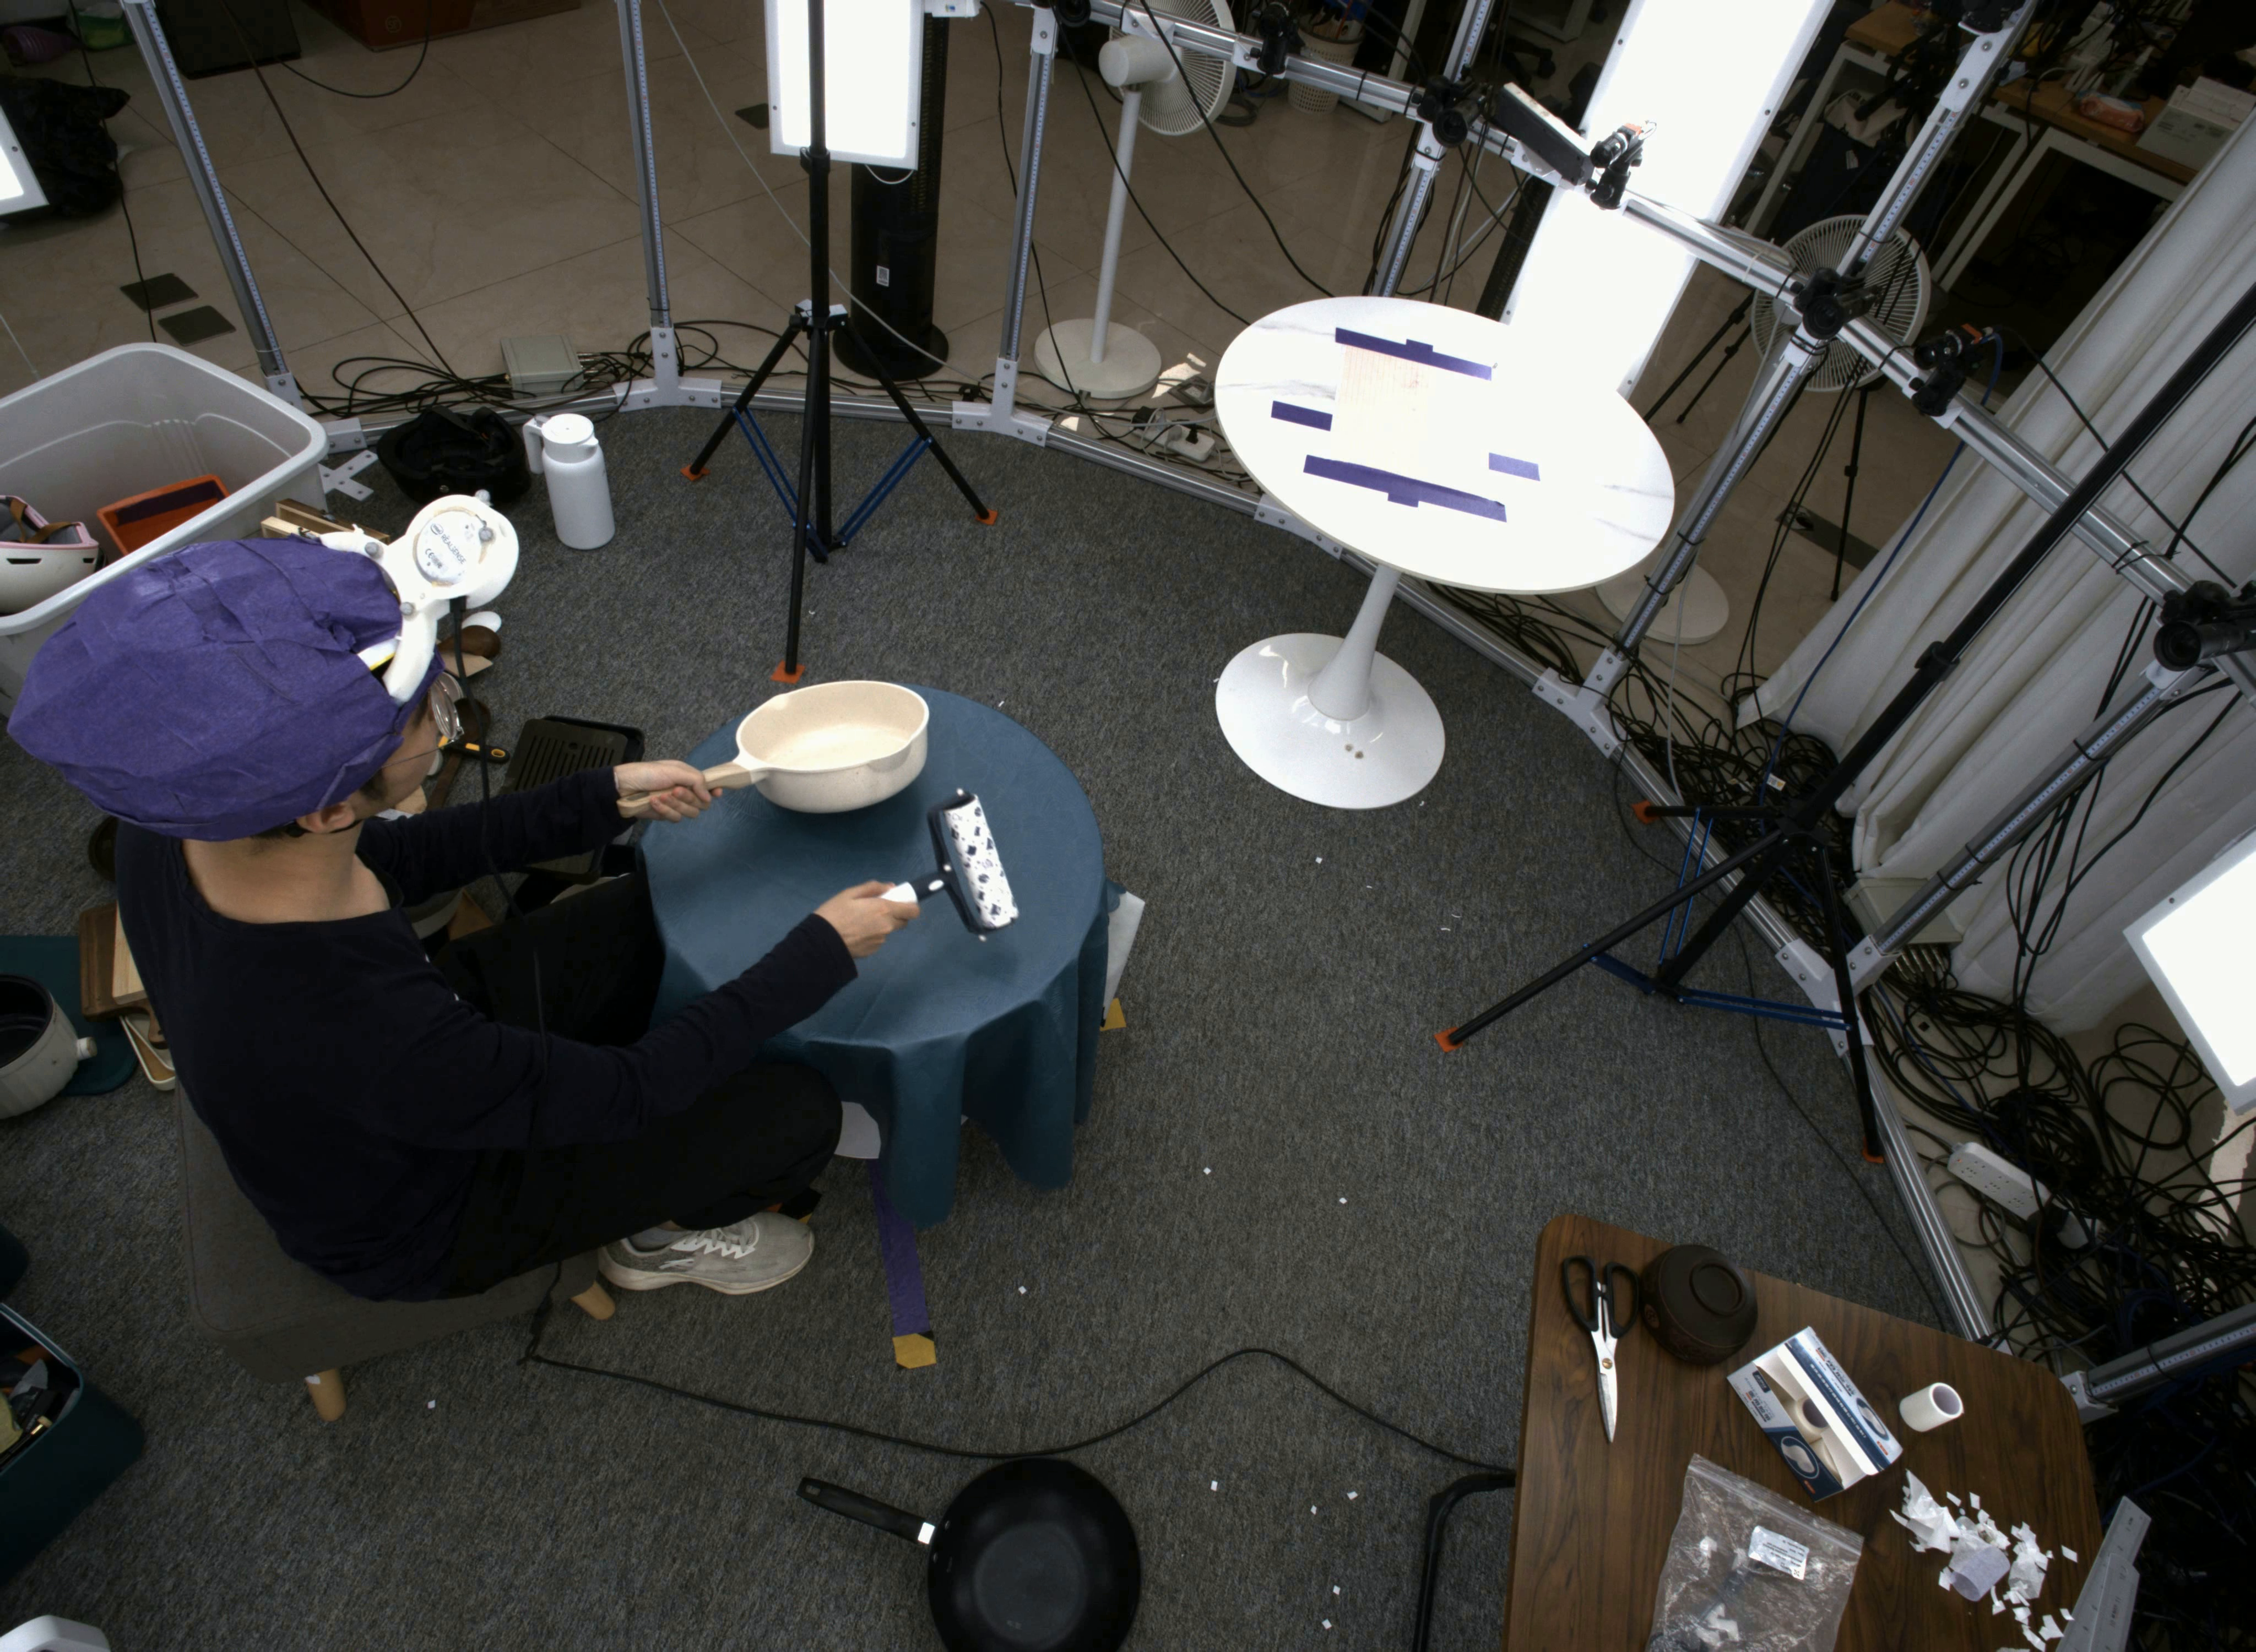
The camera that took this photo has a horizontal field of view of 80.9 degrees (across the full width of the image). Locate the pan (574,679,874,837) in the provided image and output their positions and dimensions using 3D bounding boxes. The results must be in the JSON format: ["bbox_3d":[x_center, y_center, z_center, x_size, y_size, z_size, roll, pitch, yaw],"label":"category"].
[{"bbox_3d":[-0.511,-0.063,1.643,0.254,0.105,0.436,22,41,32],"label":"pan"}]

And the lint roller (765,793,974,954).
[{"bbox_3d":[-0.318,0.090,1.557,0.247,0.182,0.048,-30,25,-24],"label":"lint roller"}]
